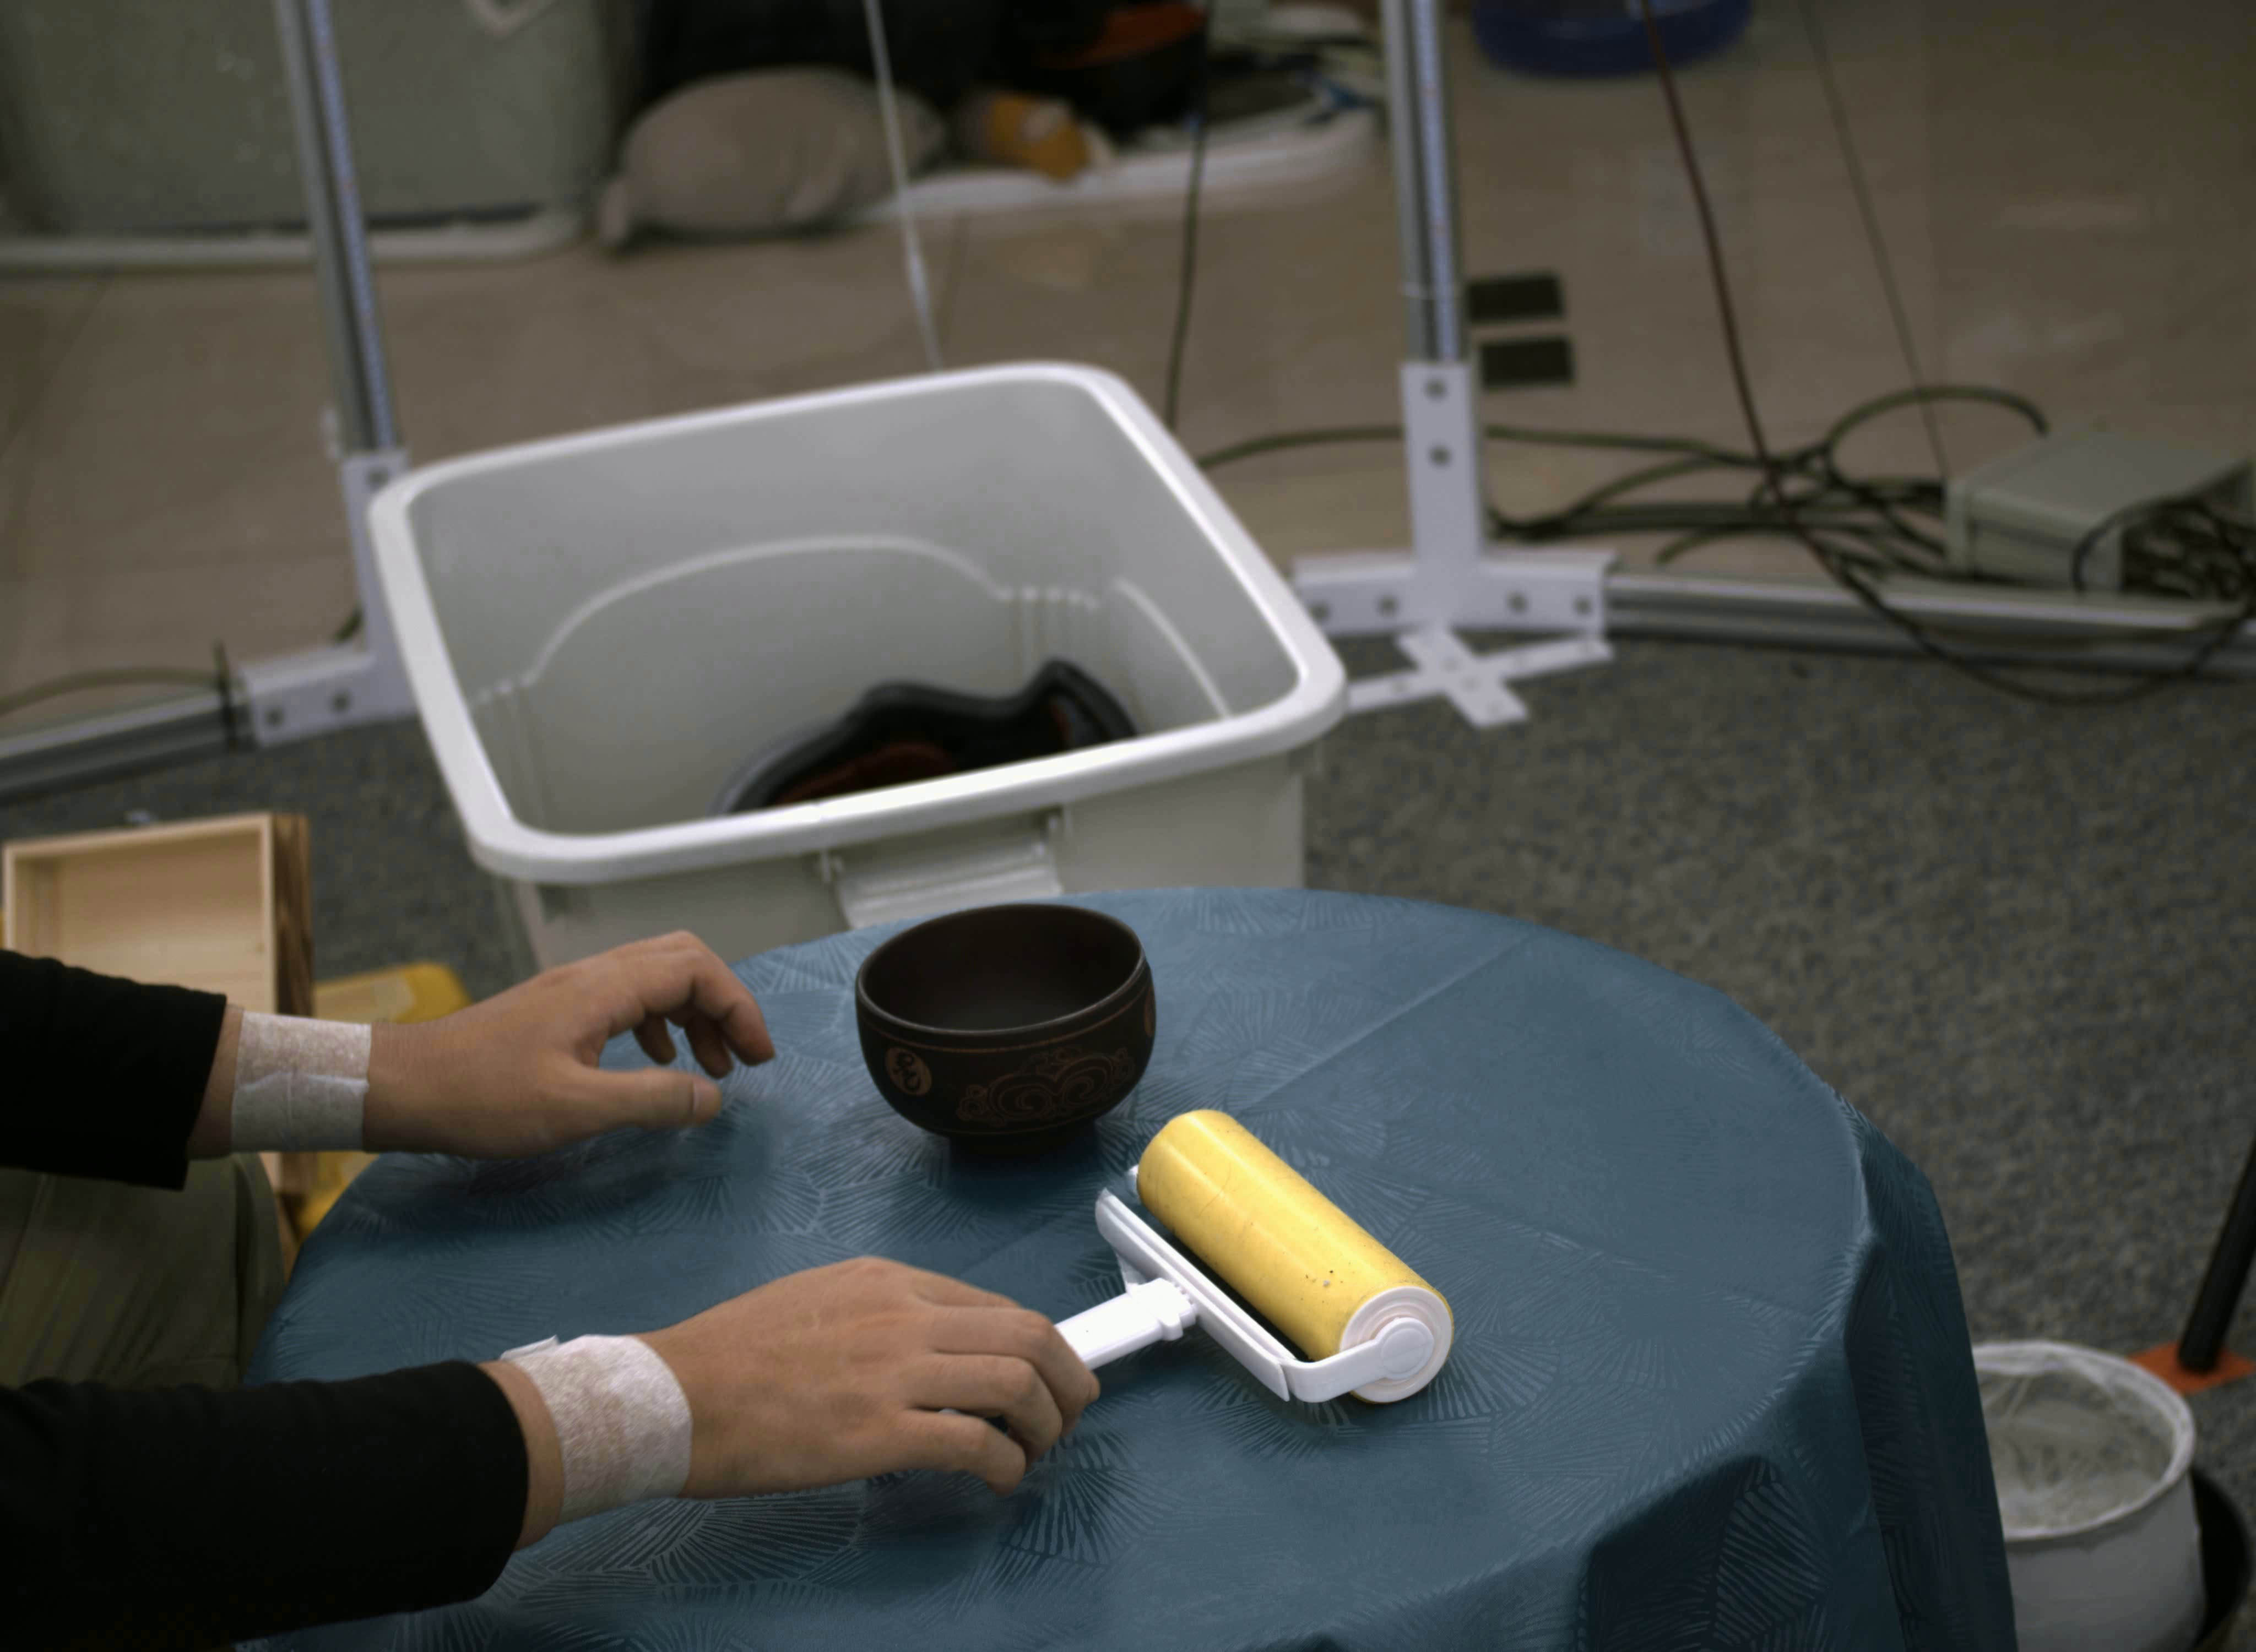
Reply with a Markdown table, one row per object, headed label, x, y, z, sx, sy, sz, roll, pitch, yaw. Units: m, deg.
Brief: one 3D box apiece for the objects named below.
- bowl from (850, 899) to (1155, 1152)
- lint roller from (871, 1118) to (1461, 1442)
| label | x | y | z | sx | sy | sz | roll | pitch | yaw |
| --- | --- | --- | --- | --- | --- | --- | --- | --- | --- |
| bowl | -0.047 | 0.083 | 2.190 | 0.118 | 0.071 | 0.116 | -5 | 24 | 2 |
| lint roller | -0.004 | 0.172 | 2.017 | 0.191 | 0.052 | 0.172 | -13 | 25 | -24 |
